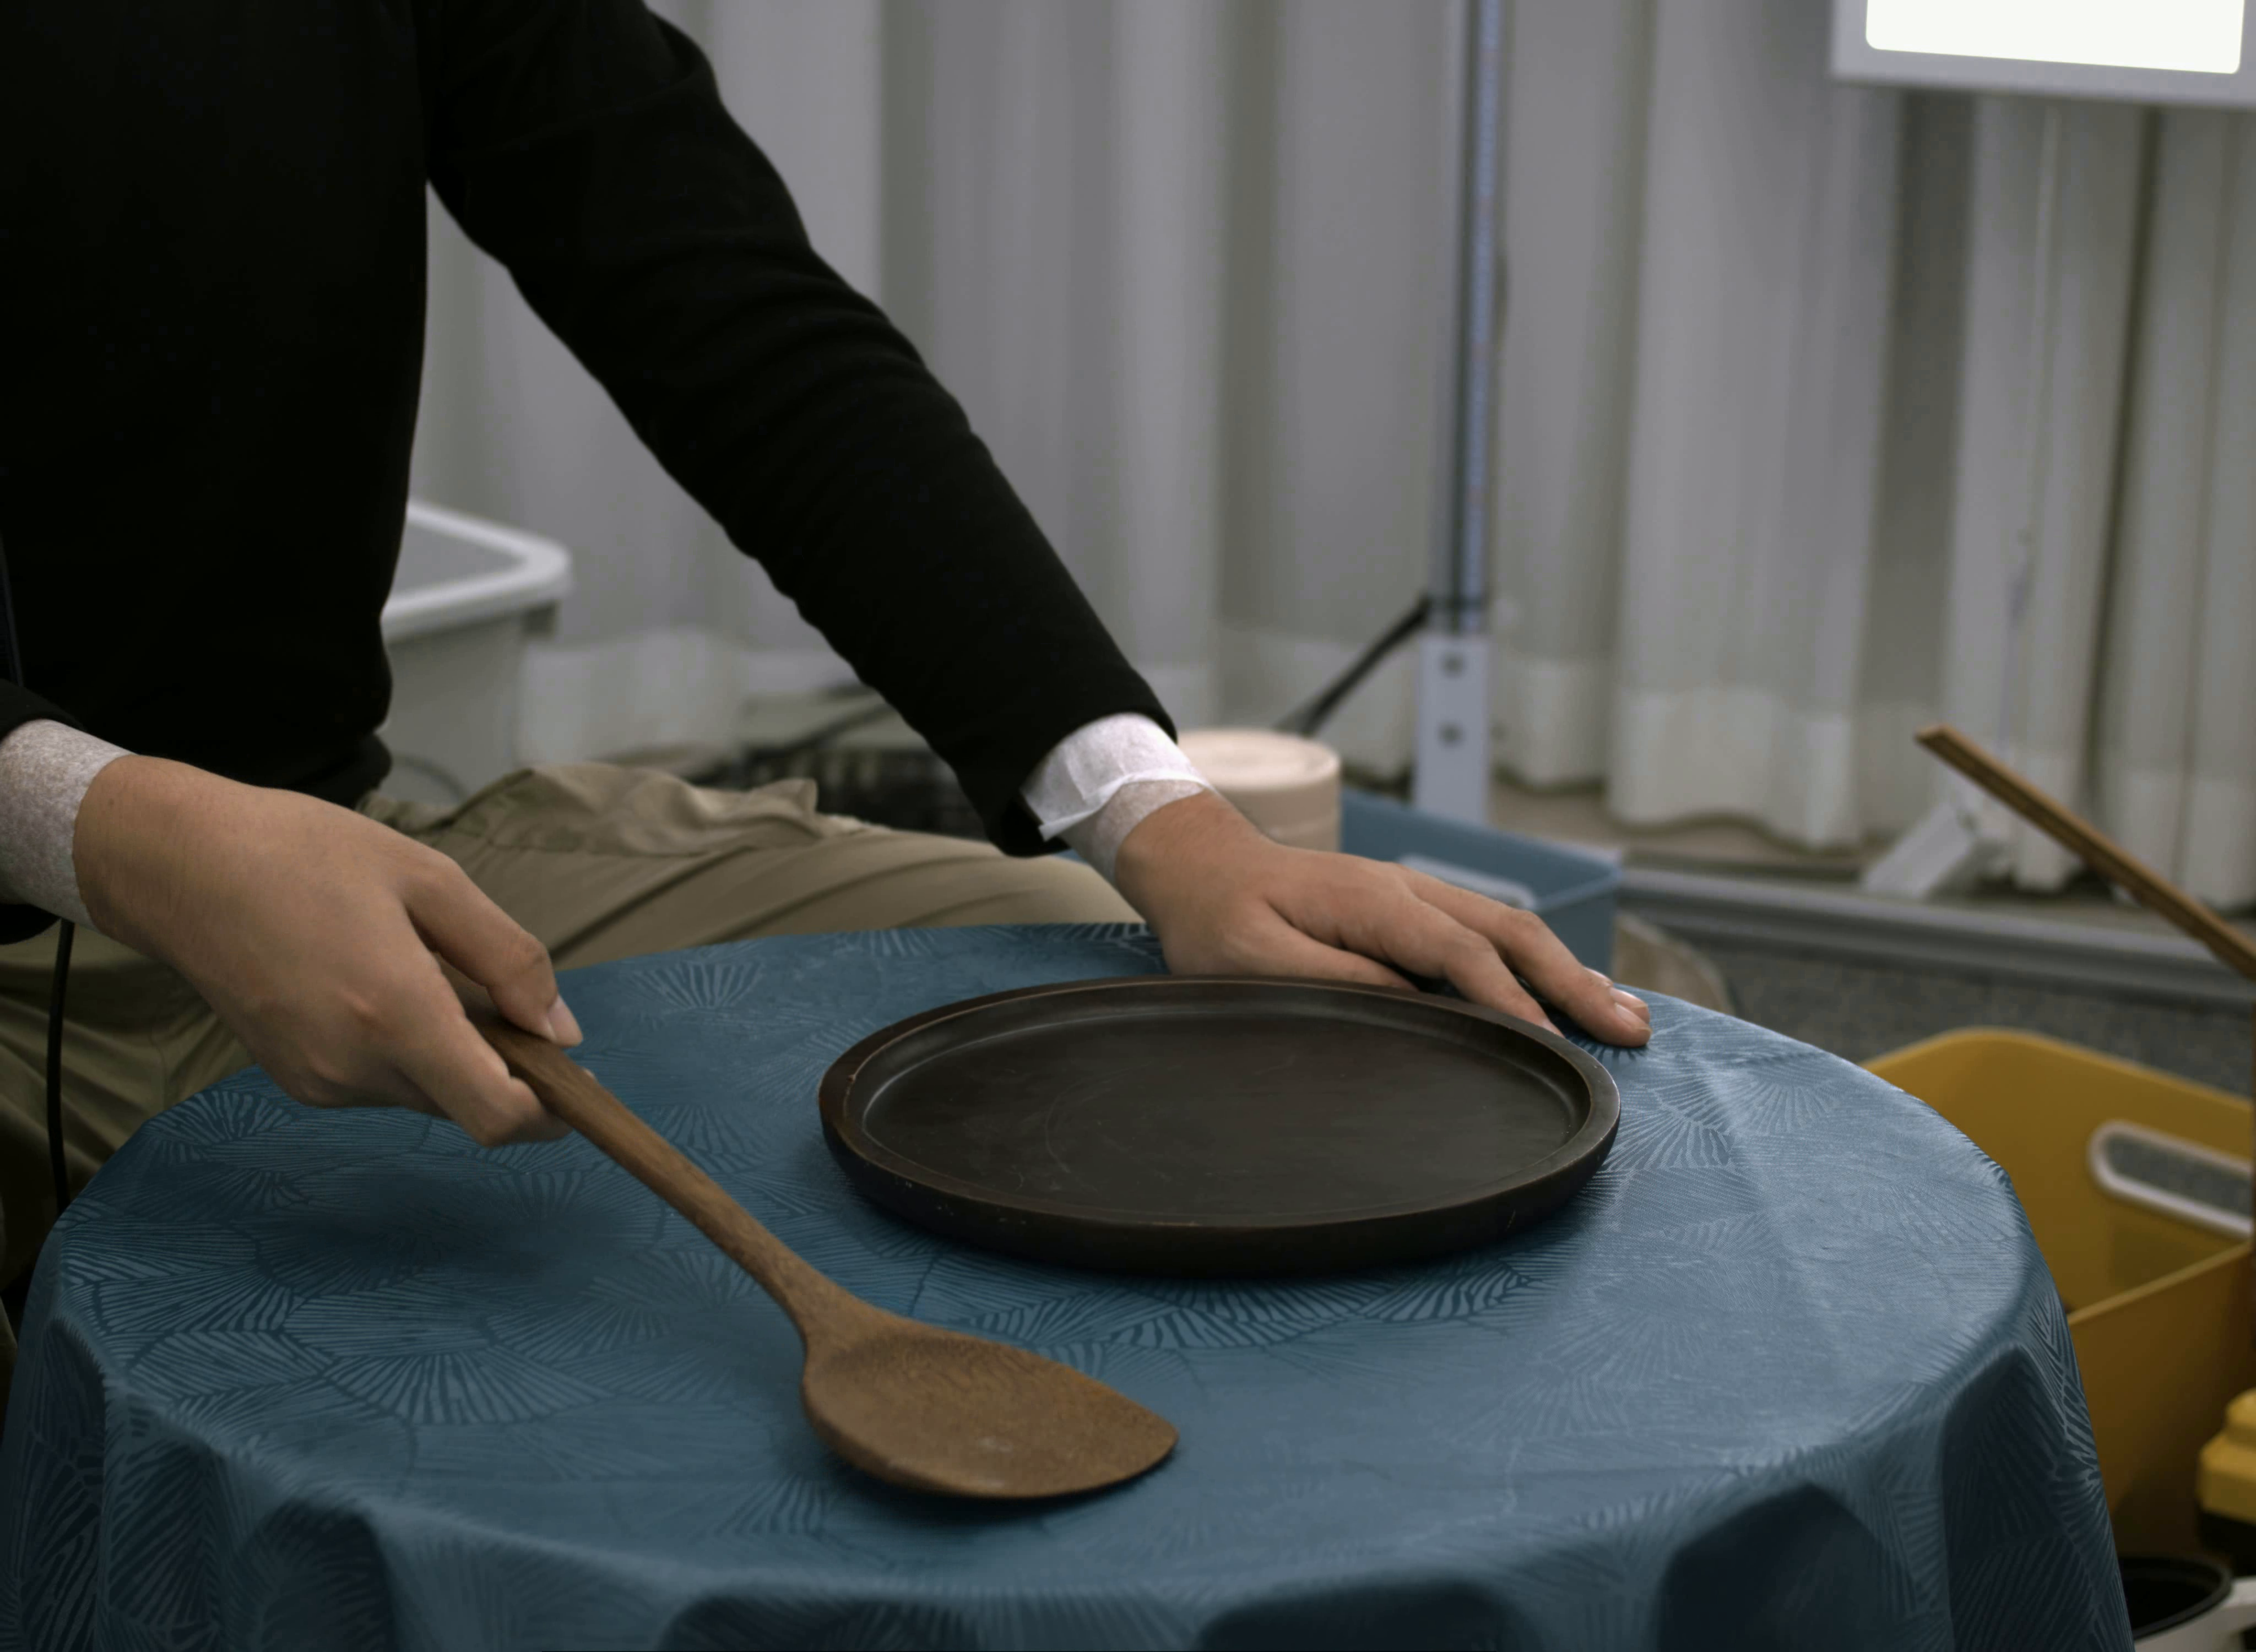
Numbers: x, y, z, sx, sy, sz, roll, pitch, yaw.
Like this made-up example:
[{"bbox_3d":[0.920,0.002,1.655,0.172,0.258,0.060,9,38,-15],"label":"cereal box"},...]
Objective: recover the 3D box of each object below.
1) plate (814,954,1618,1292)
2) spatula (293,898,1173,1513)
[{"bbox_3d":[0.027,0.093,1.651,0.254,0.029,0.253,0,17,0],"label":"plate"},{"bbox_3d":[-0.134,0.100,1.506,0.096,0.016,0.380,-8,30,-41],"label":"spatula"}]
